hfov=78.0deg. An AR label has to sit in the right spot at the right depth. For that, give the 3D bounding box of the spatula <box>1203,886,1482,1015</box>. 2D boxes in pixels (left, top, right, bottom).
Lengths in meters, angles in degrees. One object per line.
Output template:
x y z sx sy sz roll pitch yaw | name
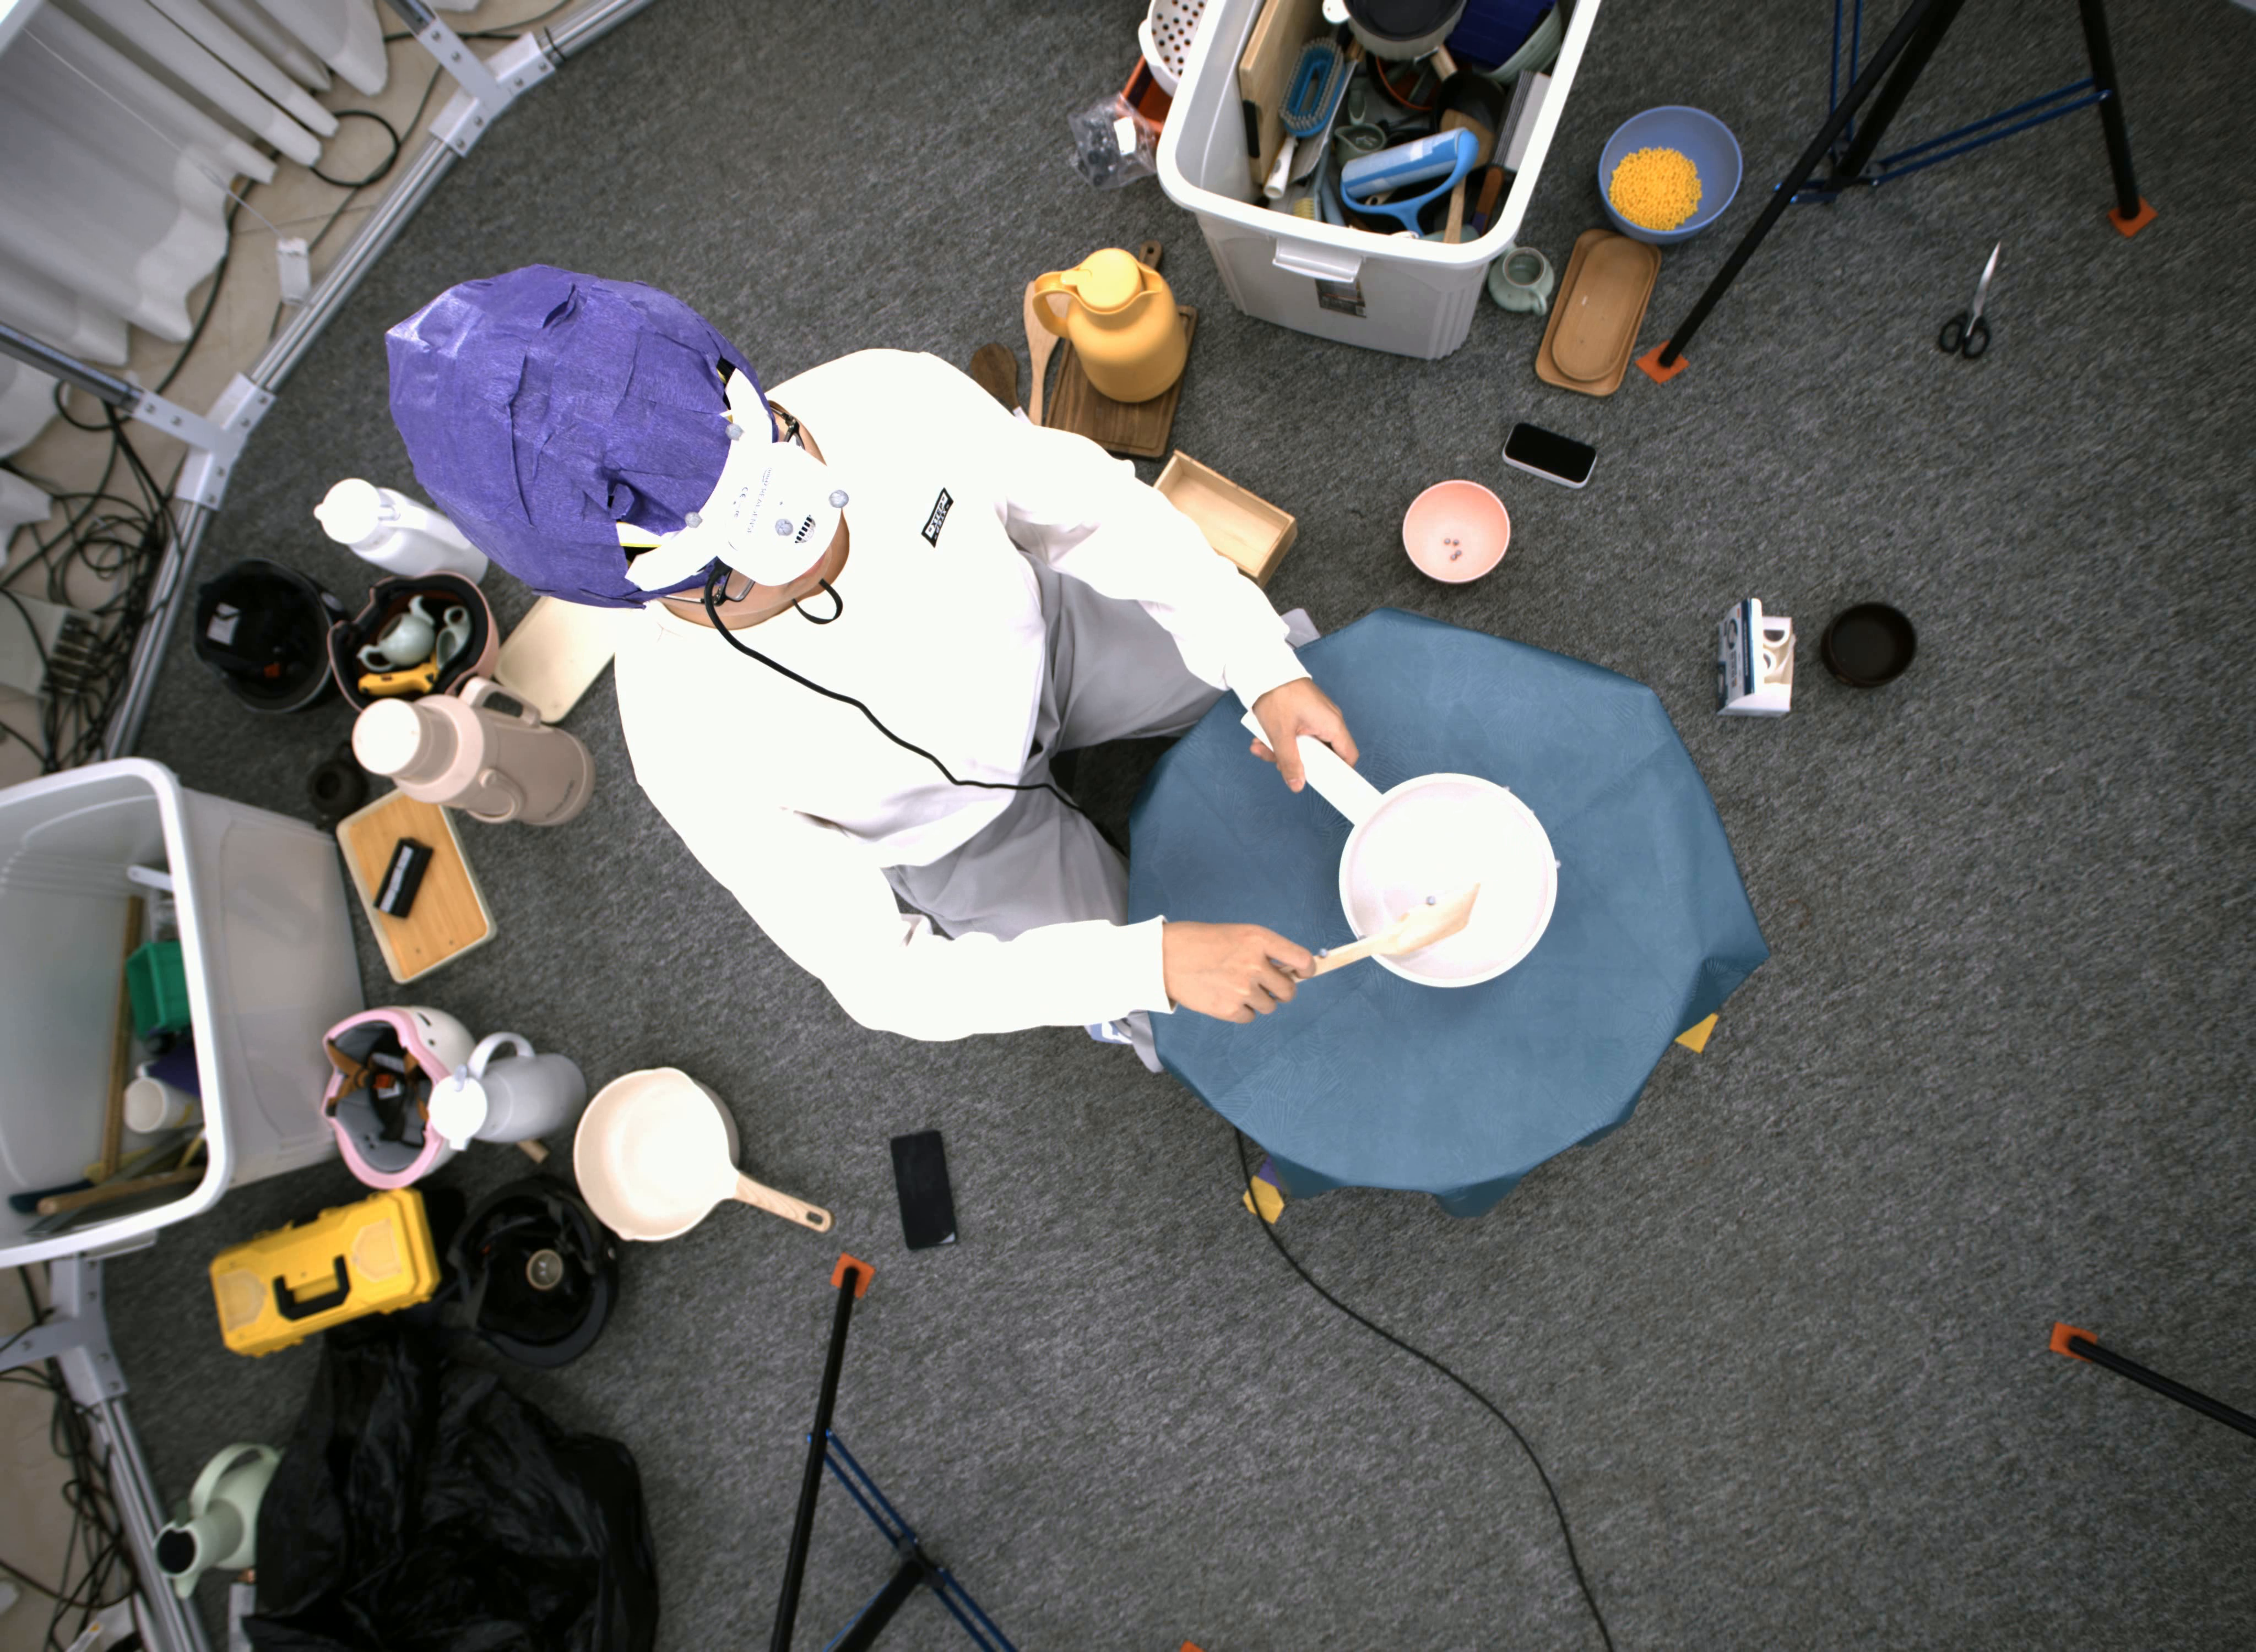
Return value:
0.202 0.119 1.281 0.291 0.074 0.010 -18 55 -15 | spatula

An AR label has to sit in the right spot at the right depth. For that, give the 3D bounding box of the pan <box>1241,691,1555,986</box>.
0.258 0.001 1.360 0.353 0.102 0.203 43 102 14 | pan
